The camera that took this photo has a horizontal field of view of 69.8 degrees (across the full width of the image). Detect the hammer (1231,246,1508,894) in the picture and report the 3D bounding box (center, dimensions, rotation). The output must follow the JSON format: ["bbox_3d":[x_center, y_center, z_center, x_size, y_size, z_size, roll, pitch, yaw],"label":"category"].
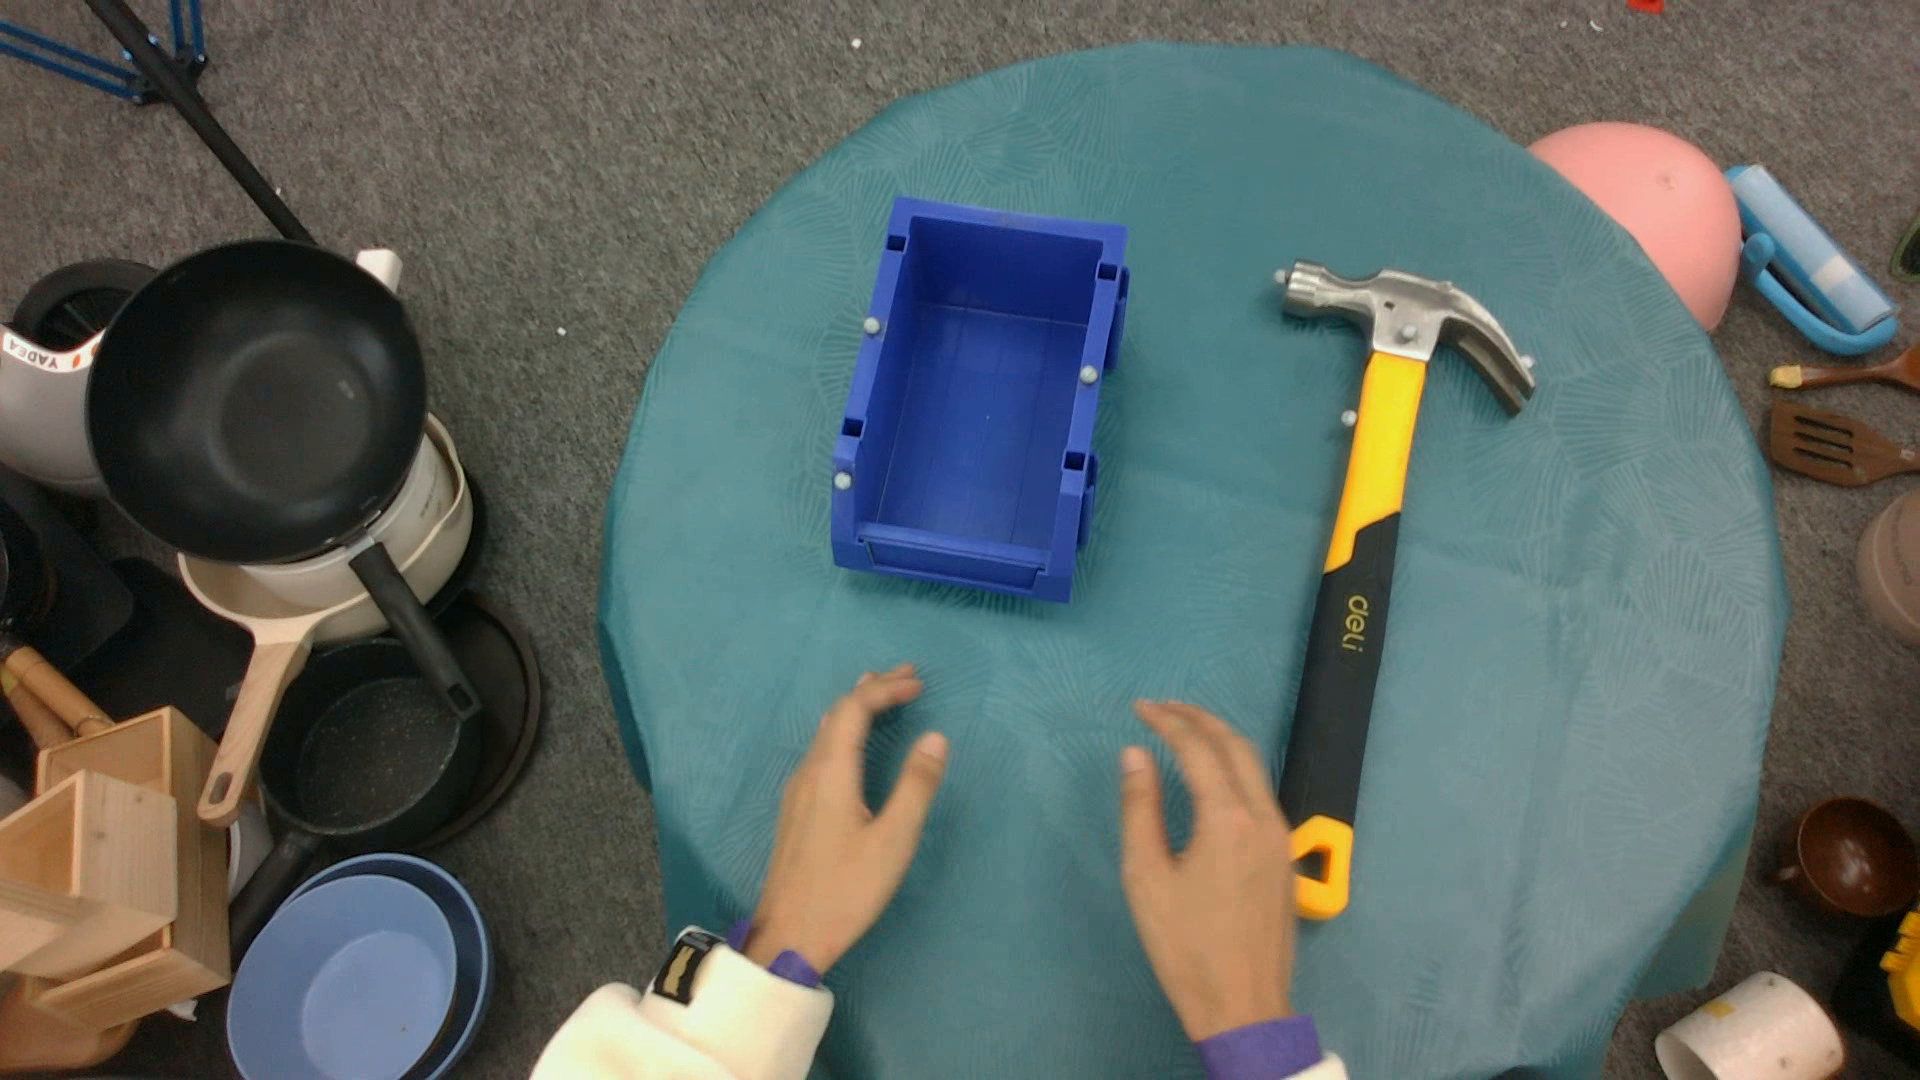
[{"bbox_3d":[0.187,0.007,0.683,0.131,0.032,0.339,15,68,6],"label":"hammer"}]

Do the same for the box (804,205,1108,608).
[{"bbox_3d":[0.001,-0.065,0.694,0.124,0.081,0.180,9,66,5],"label":"box"}]
